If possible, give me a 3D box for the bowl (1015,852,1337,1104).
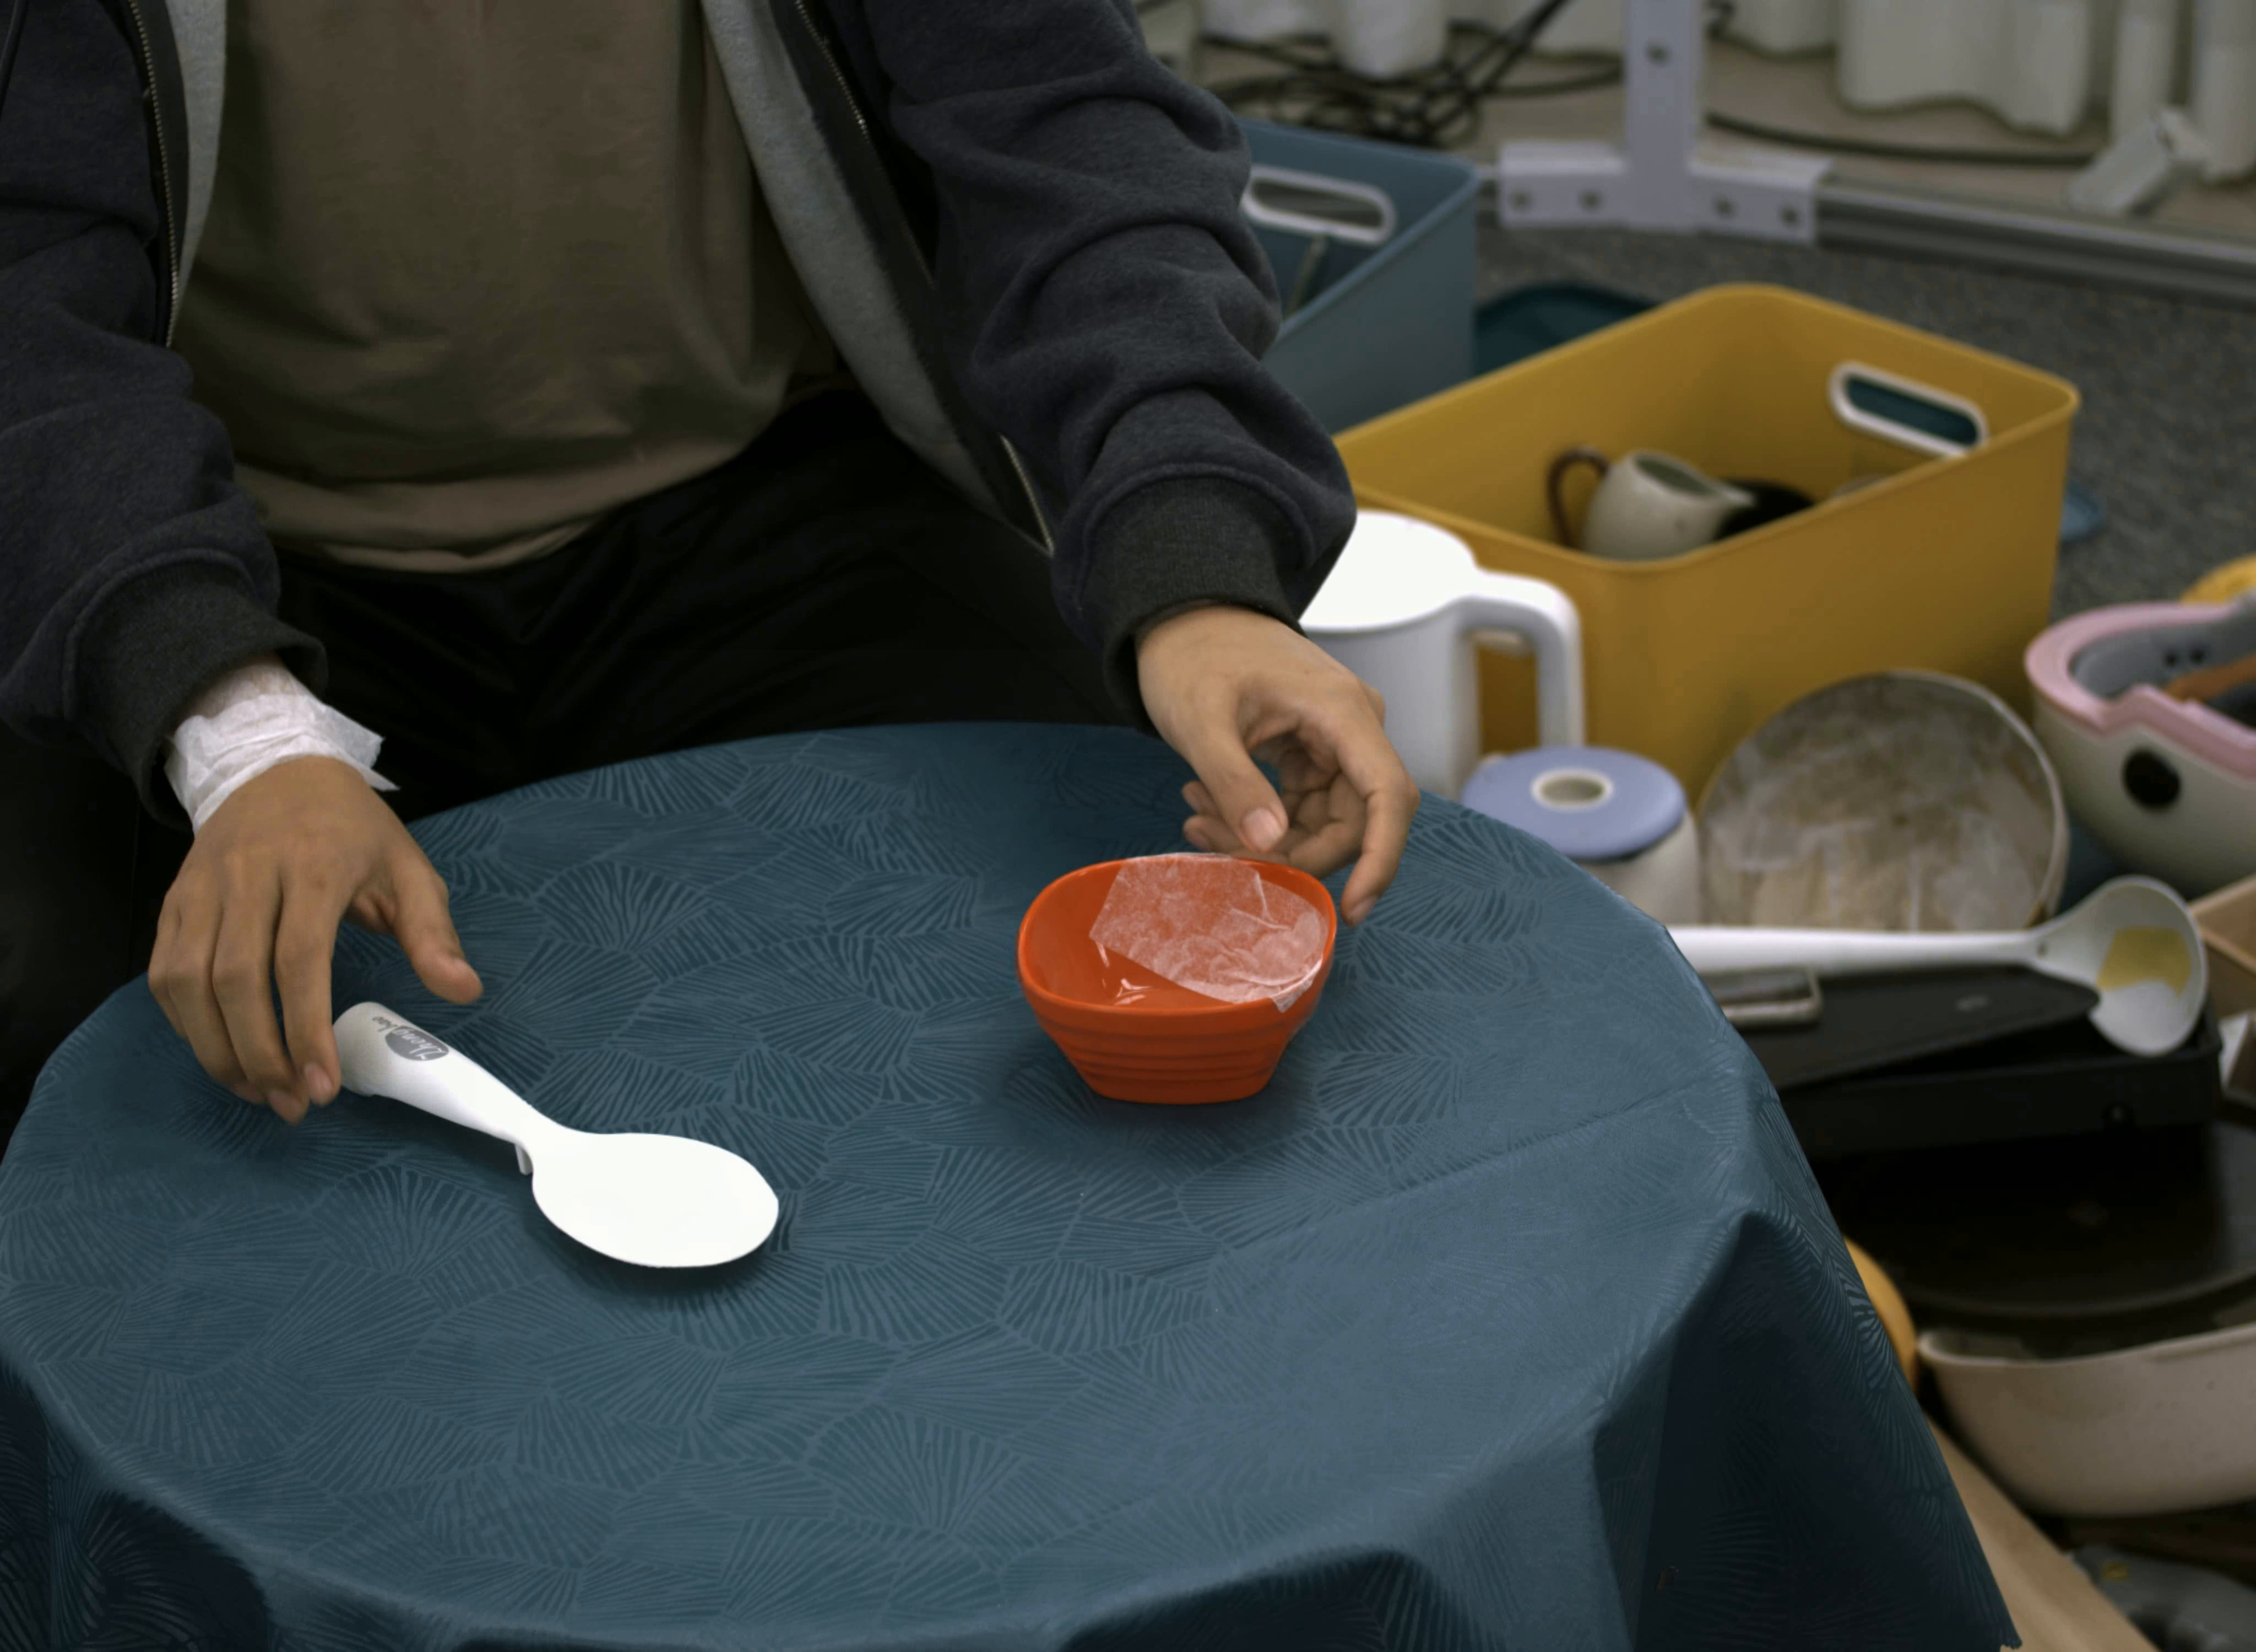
[{"bbox_3d":[0.018,0.056,1.929,0.118,0.051,0.121,-2,28,1],"label":"bowl"}]

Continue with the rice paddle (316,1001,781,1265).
[{"bbox_3d":[-0.196,0.104,1.882,0.205,0.029,0.069,22,38,39],"label":"rice paddle"}]
